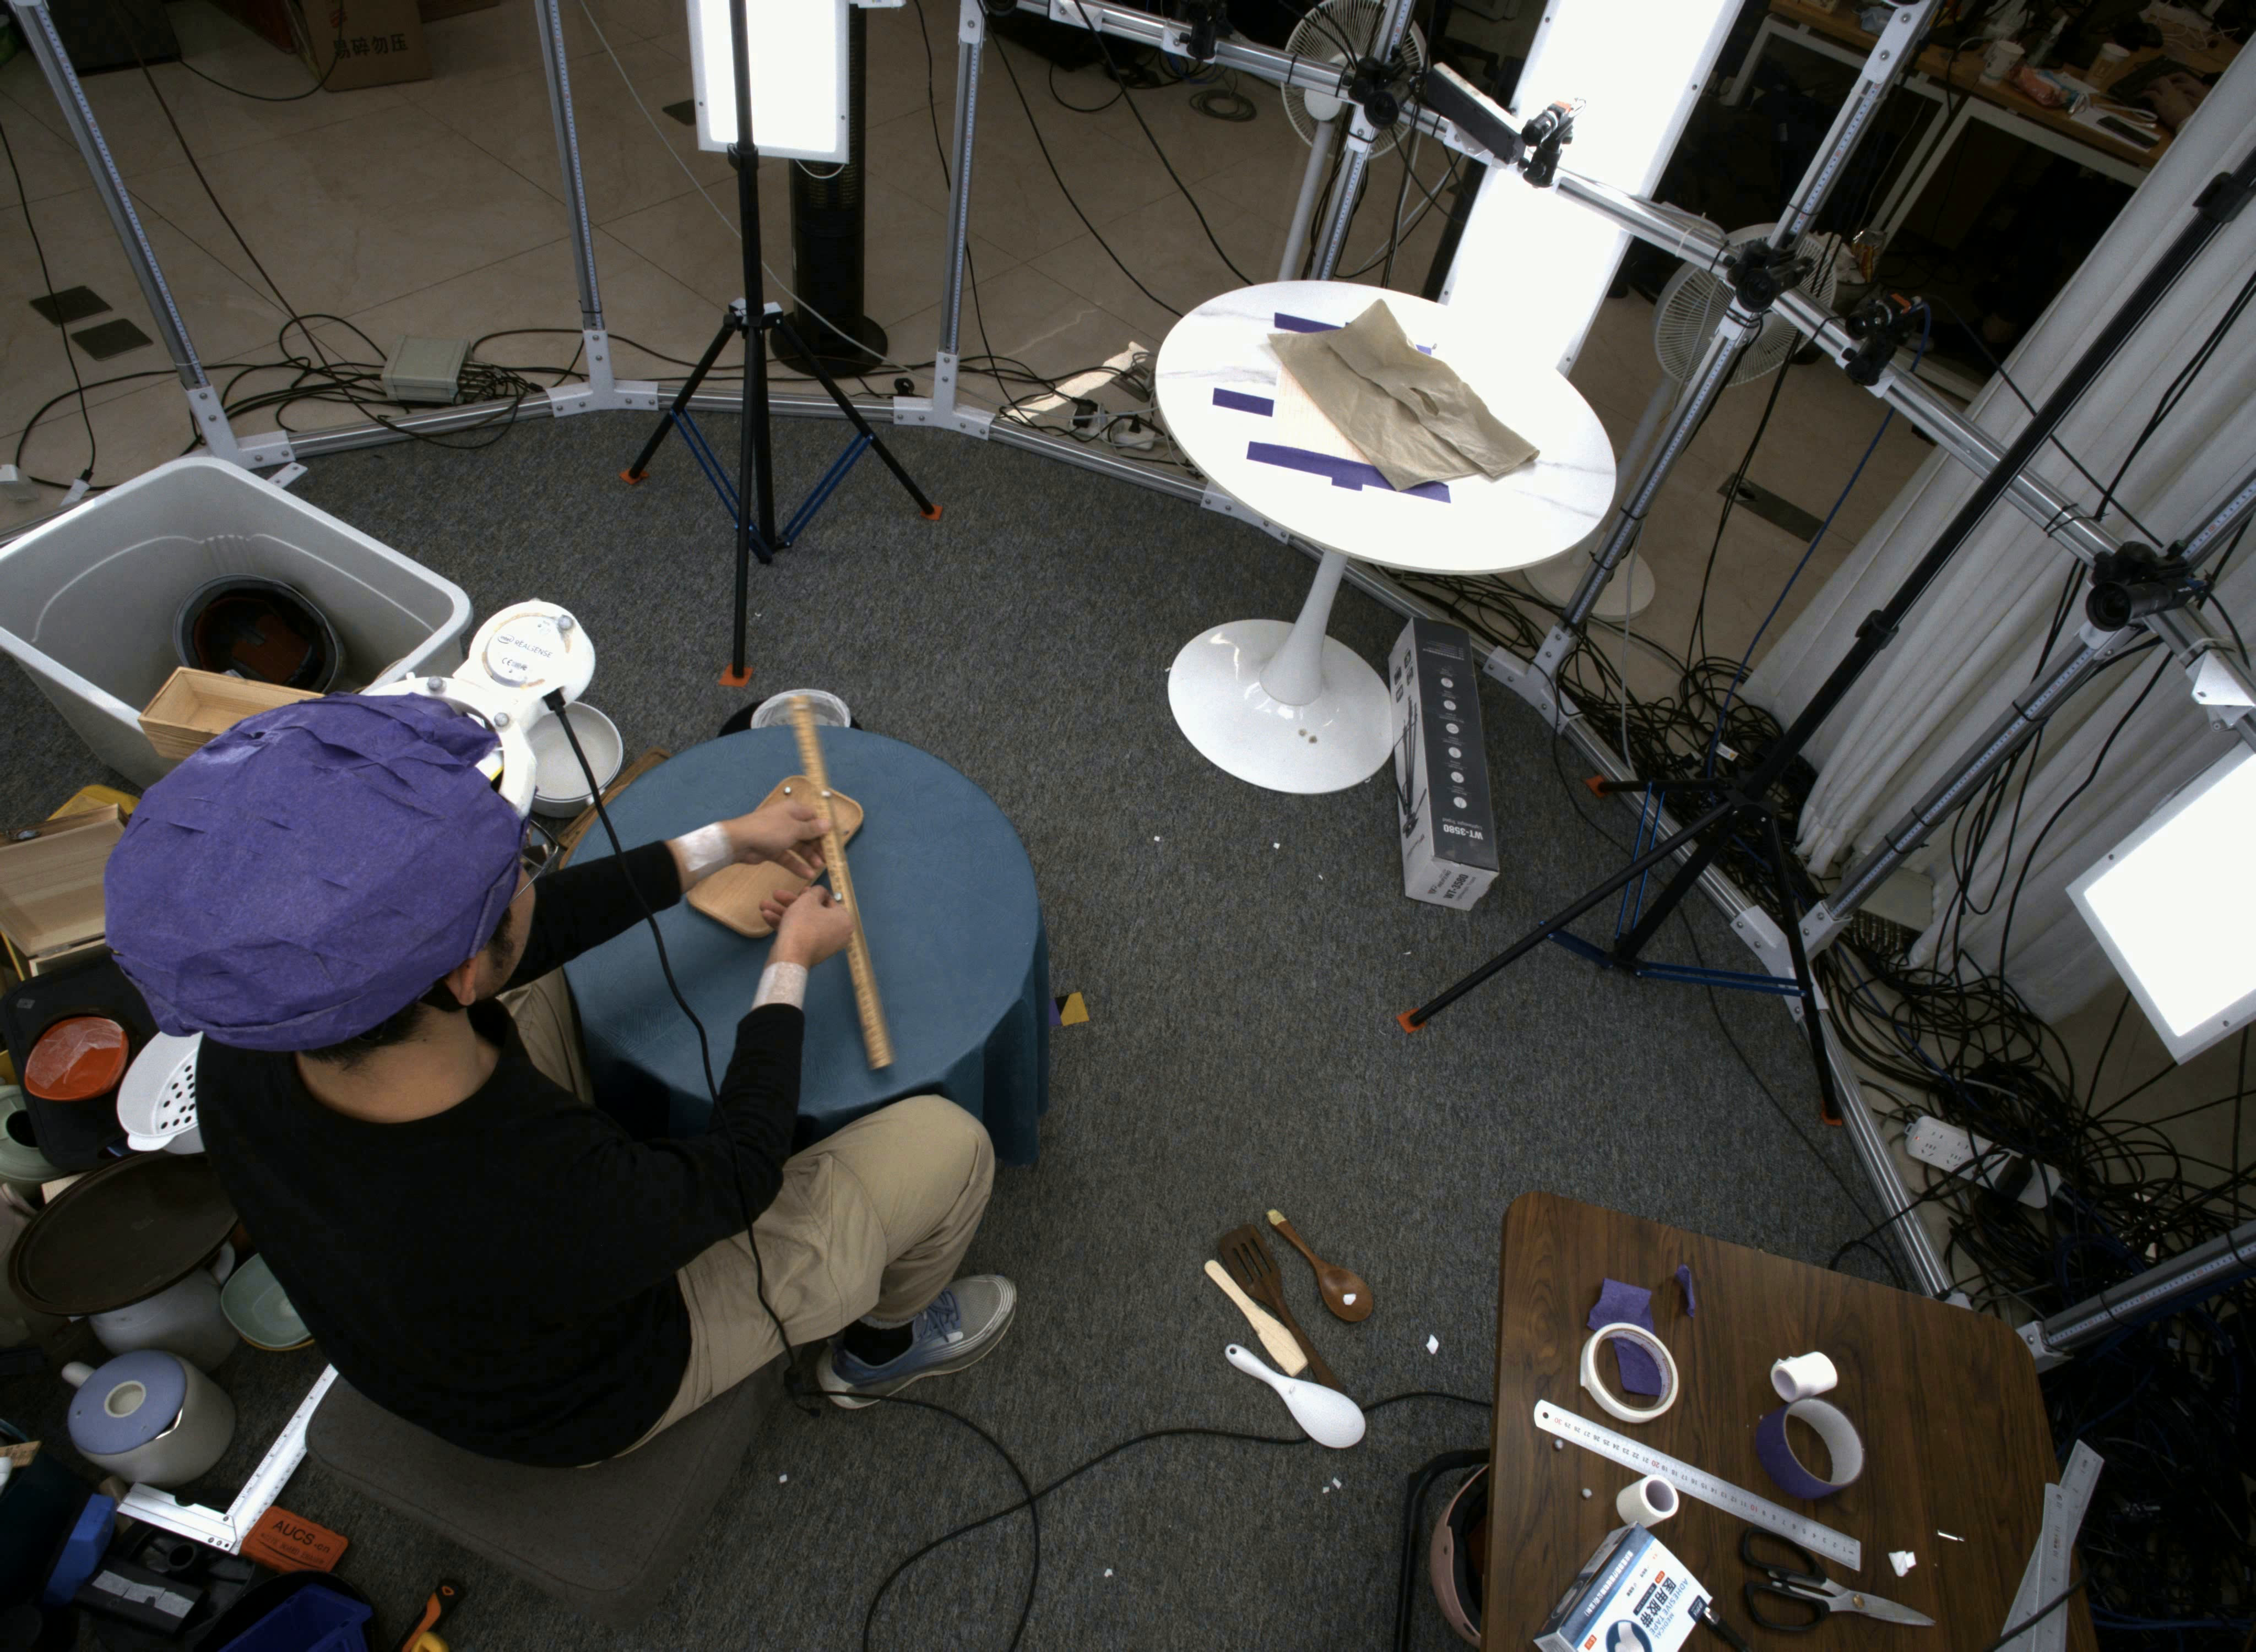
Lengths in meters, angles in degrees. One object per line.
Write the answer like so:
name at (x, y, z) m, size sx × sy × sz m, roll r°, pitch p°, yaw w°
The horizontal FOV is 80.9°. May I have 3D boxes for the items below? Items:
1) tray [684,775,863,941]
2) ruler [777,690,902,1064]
tray at (-0.454, 0.036, 1.674) m, size 0.128 × 0.023 × 0.249 m, roll 27°, pitch 53°, yaw 9°
ruler at (-0.359, 0.051, 1.590) m, size 0.027 × 0.006 × 0.495 m, roll -16°, pitch 73°, yaw -12°
